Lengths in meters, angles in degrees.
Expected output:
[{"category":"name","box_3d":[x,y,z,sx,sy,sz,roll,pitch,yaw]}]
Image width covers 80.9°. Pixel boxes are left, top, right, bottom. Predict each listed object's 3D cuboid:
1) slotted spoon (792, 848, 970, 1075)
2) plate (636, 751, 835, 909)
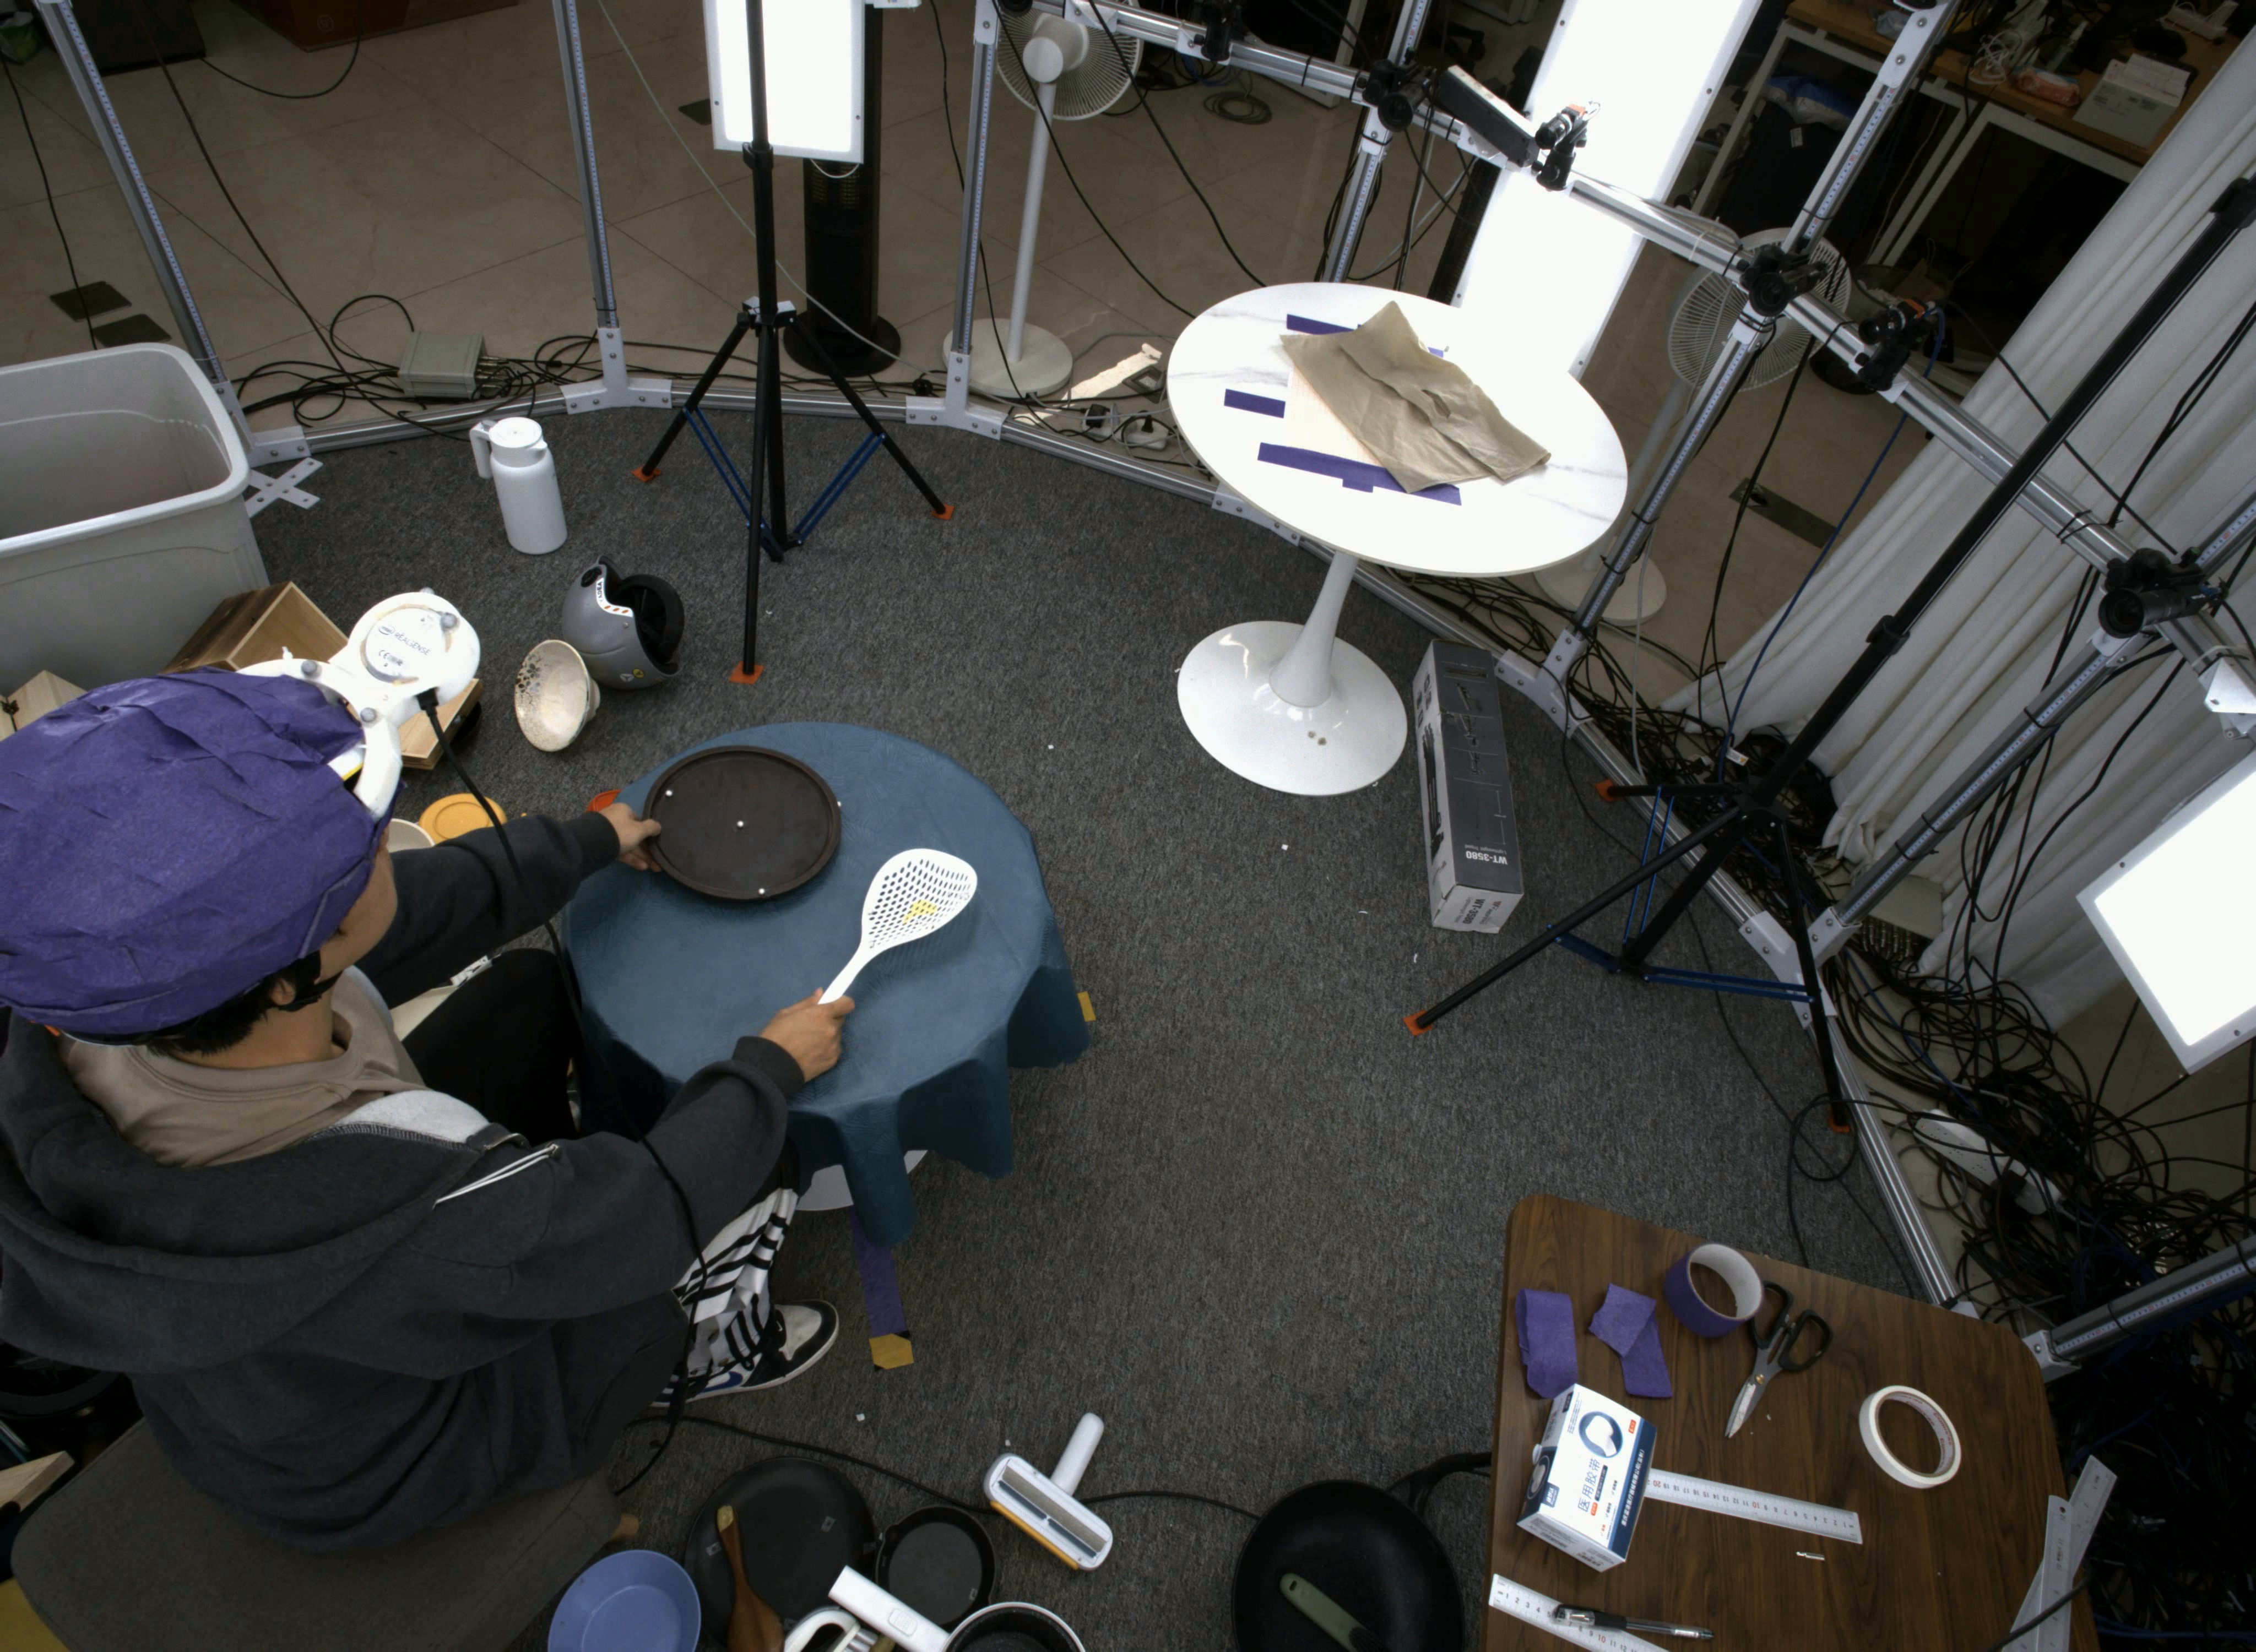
[{"category":"slotted spoon","box_3d":[-0.318,0.158,1.600,0.133,0.052,0.346,19,46,17]},{"category":"plate","box_3d":[-0.509,0.002,1.680,0.255,0.029,0.250,11,52,-13]}]
